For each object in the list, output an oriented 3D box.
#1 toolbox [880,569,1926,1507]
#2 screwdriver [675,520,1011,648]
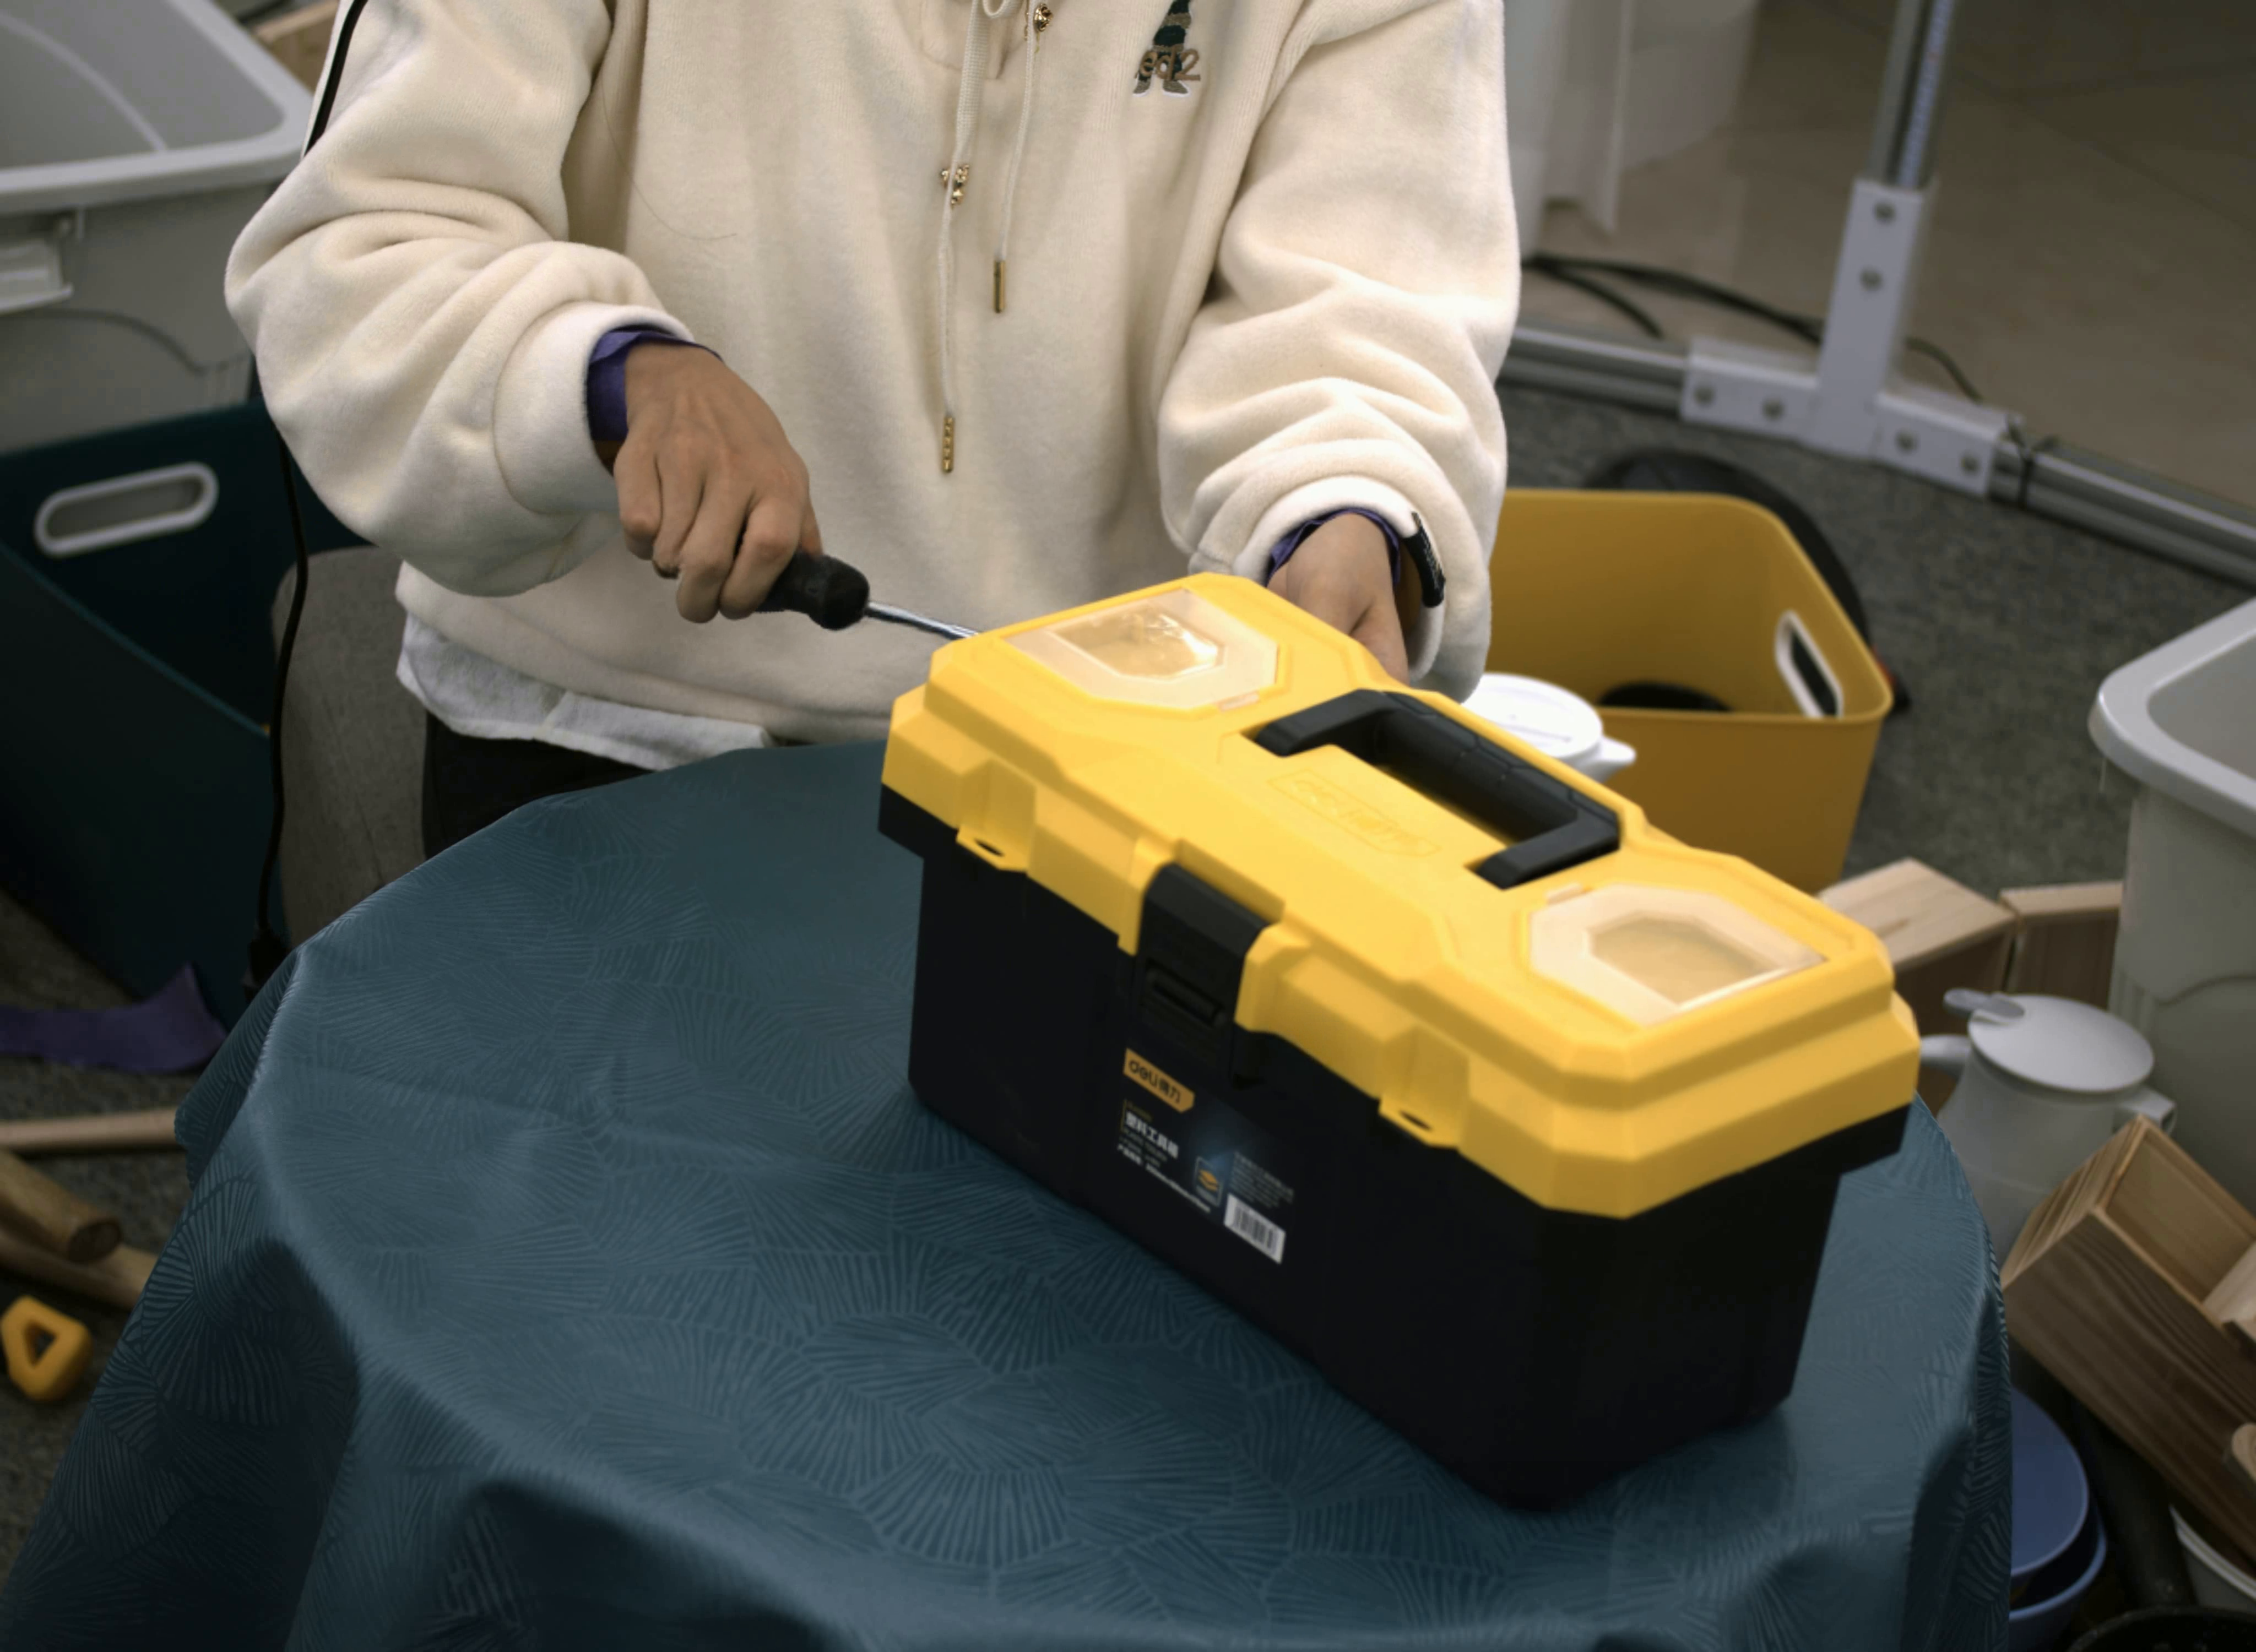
[{"bbox_3d":[0.077,0.063,1.747,0.180,0.172,0.354,-16,35,-38],"label":"toolbox"},{"bbox_3d":[-0.101,-0.083,1.884,0.031,0.031,0.197,-13,18,-34],"label":"screwdriver"}]
